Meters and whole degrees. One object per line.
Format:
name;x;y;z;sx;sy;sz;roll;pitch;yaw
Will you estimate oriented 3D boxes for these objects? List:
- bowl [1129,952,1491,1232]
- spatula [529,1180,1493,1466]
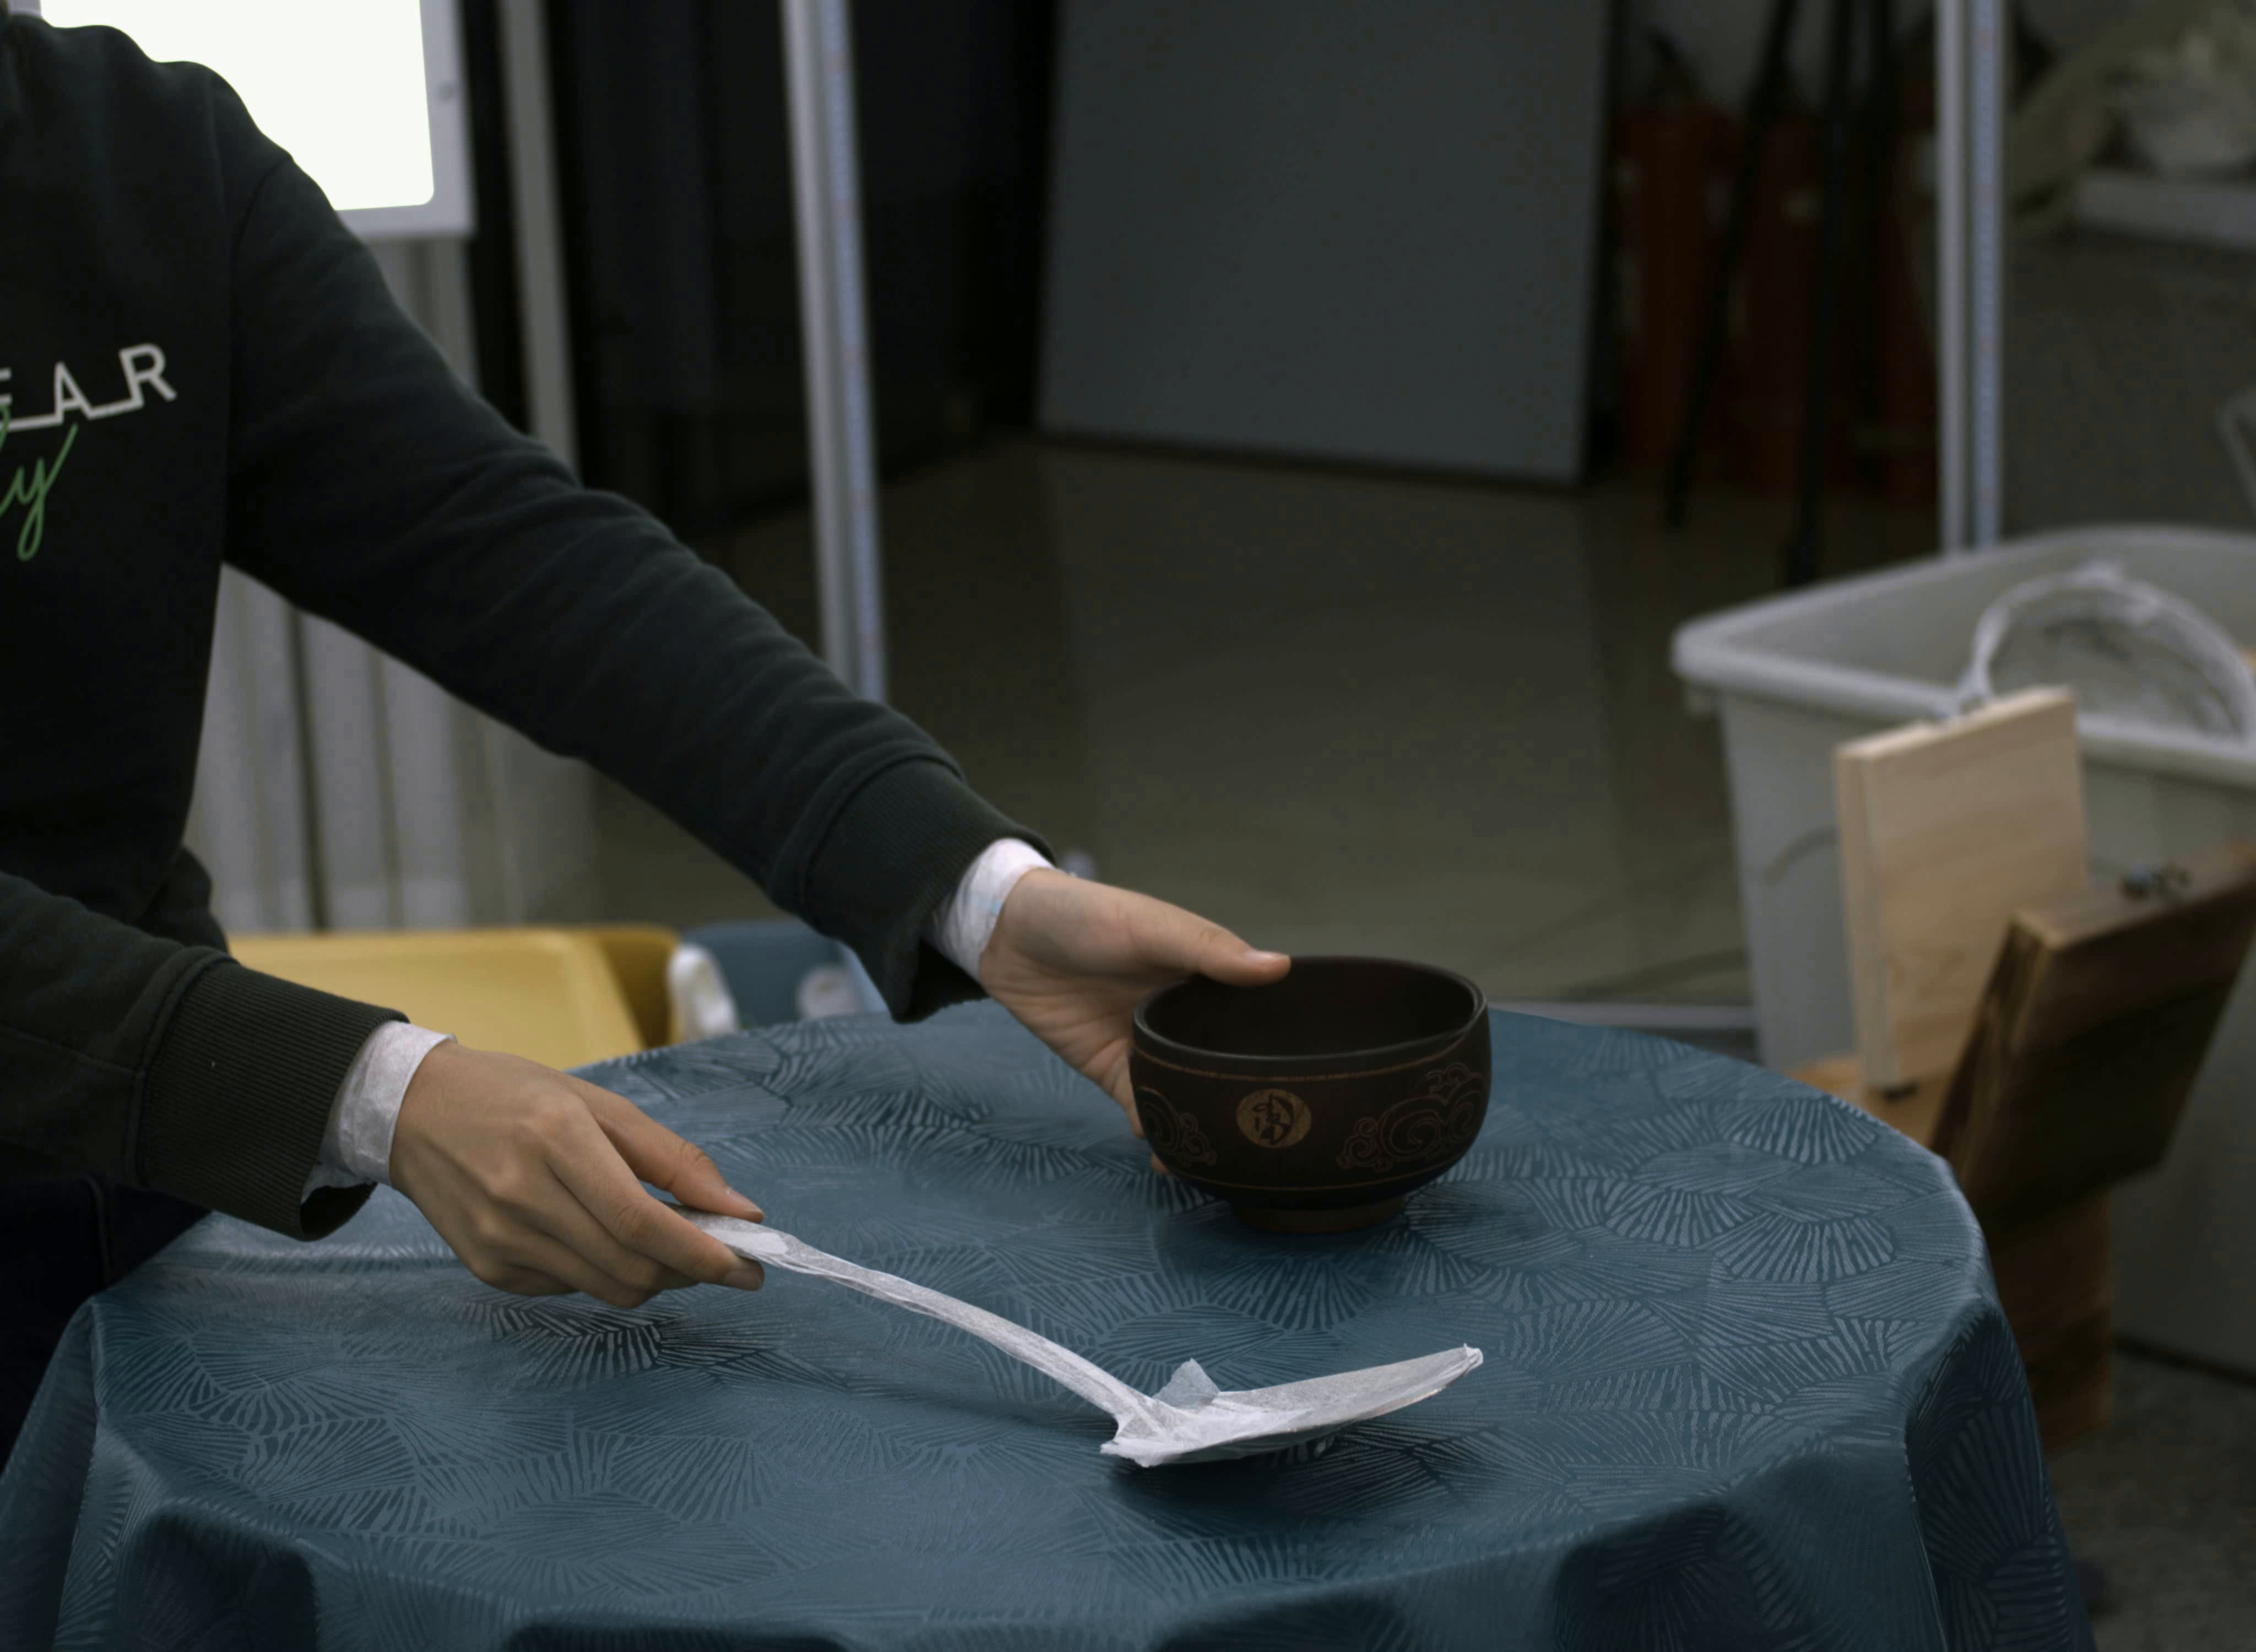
bowl;0.059;0.089;1.733;0.116;0.070;0.118;-3;13;0
spatula;-0.056;0.137;1.599;0.368;0.045;0.097;15;21;38
